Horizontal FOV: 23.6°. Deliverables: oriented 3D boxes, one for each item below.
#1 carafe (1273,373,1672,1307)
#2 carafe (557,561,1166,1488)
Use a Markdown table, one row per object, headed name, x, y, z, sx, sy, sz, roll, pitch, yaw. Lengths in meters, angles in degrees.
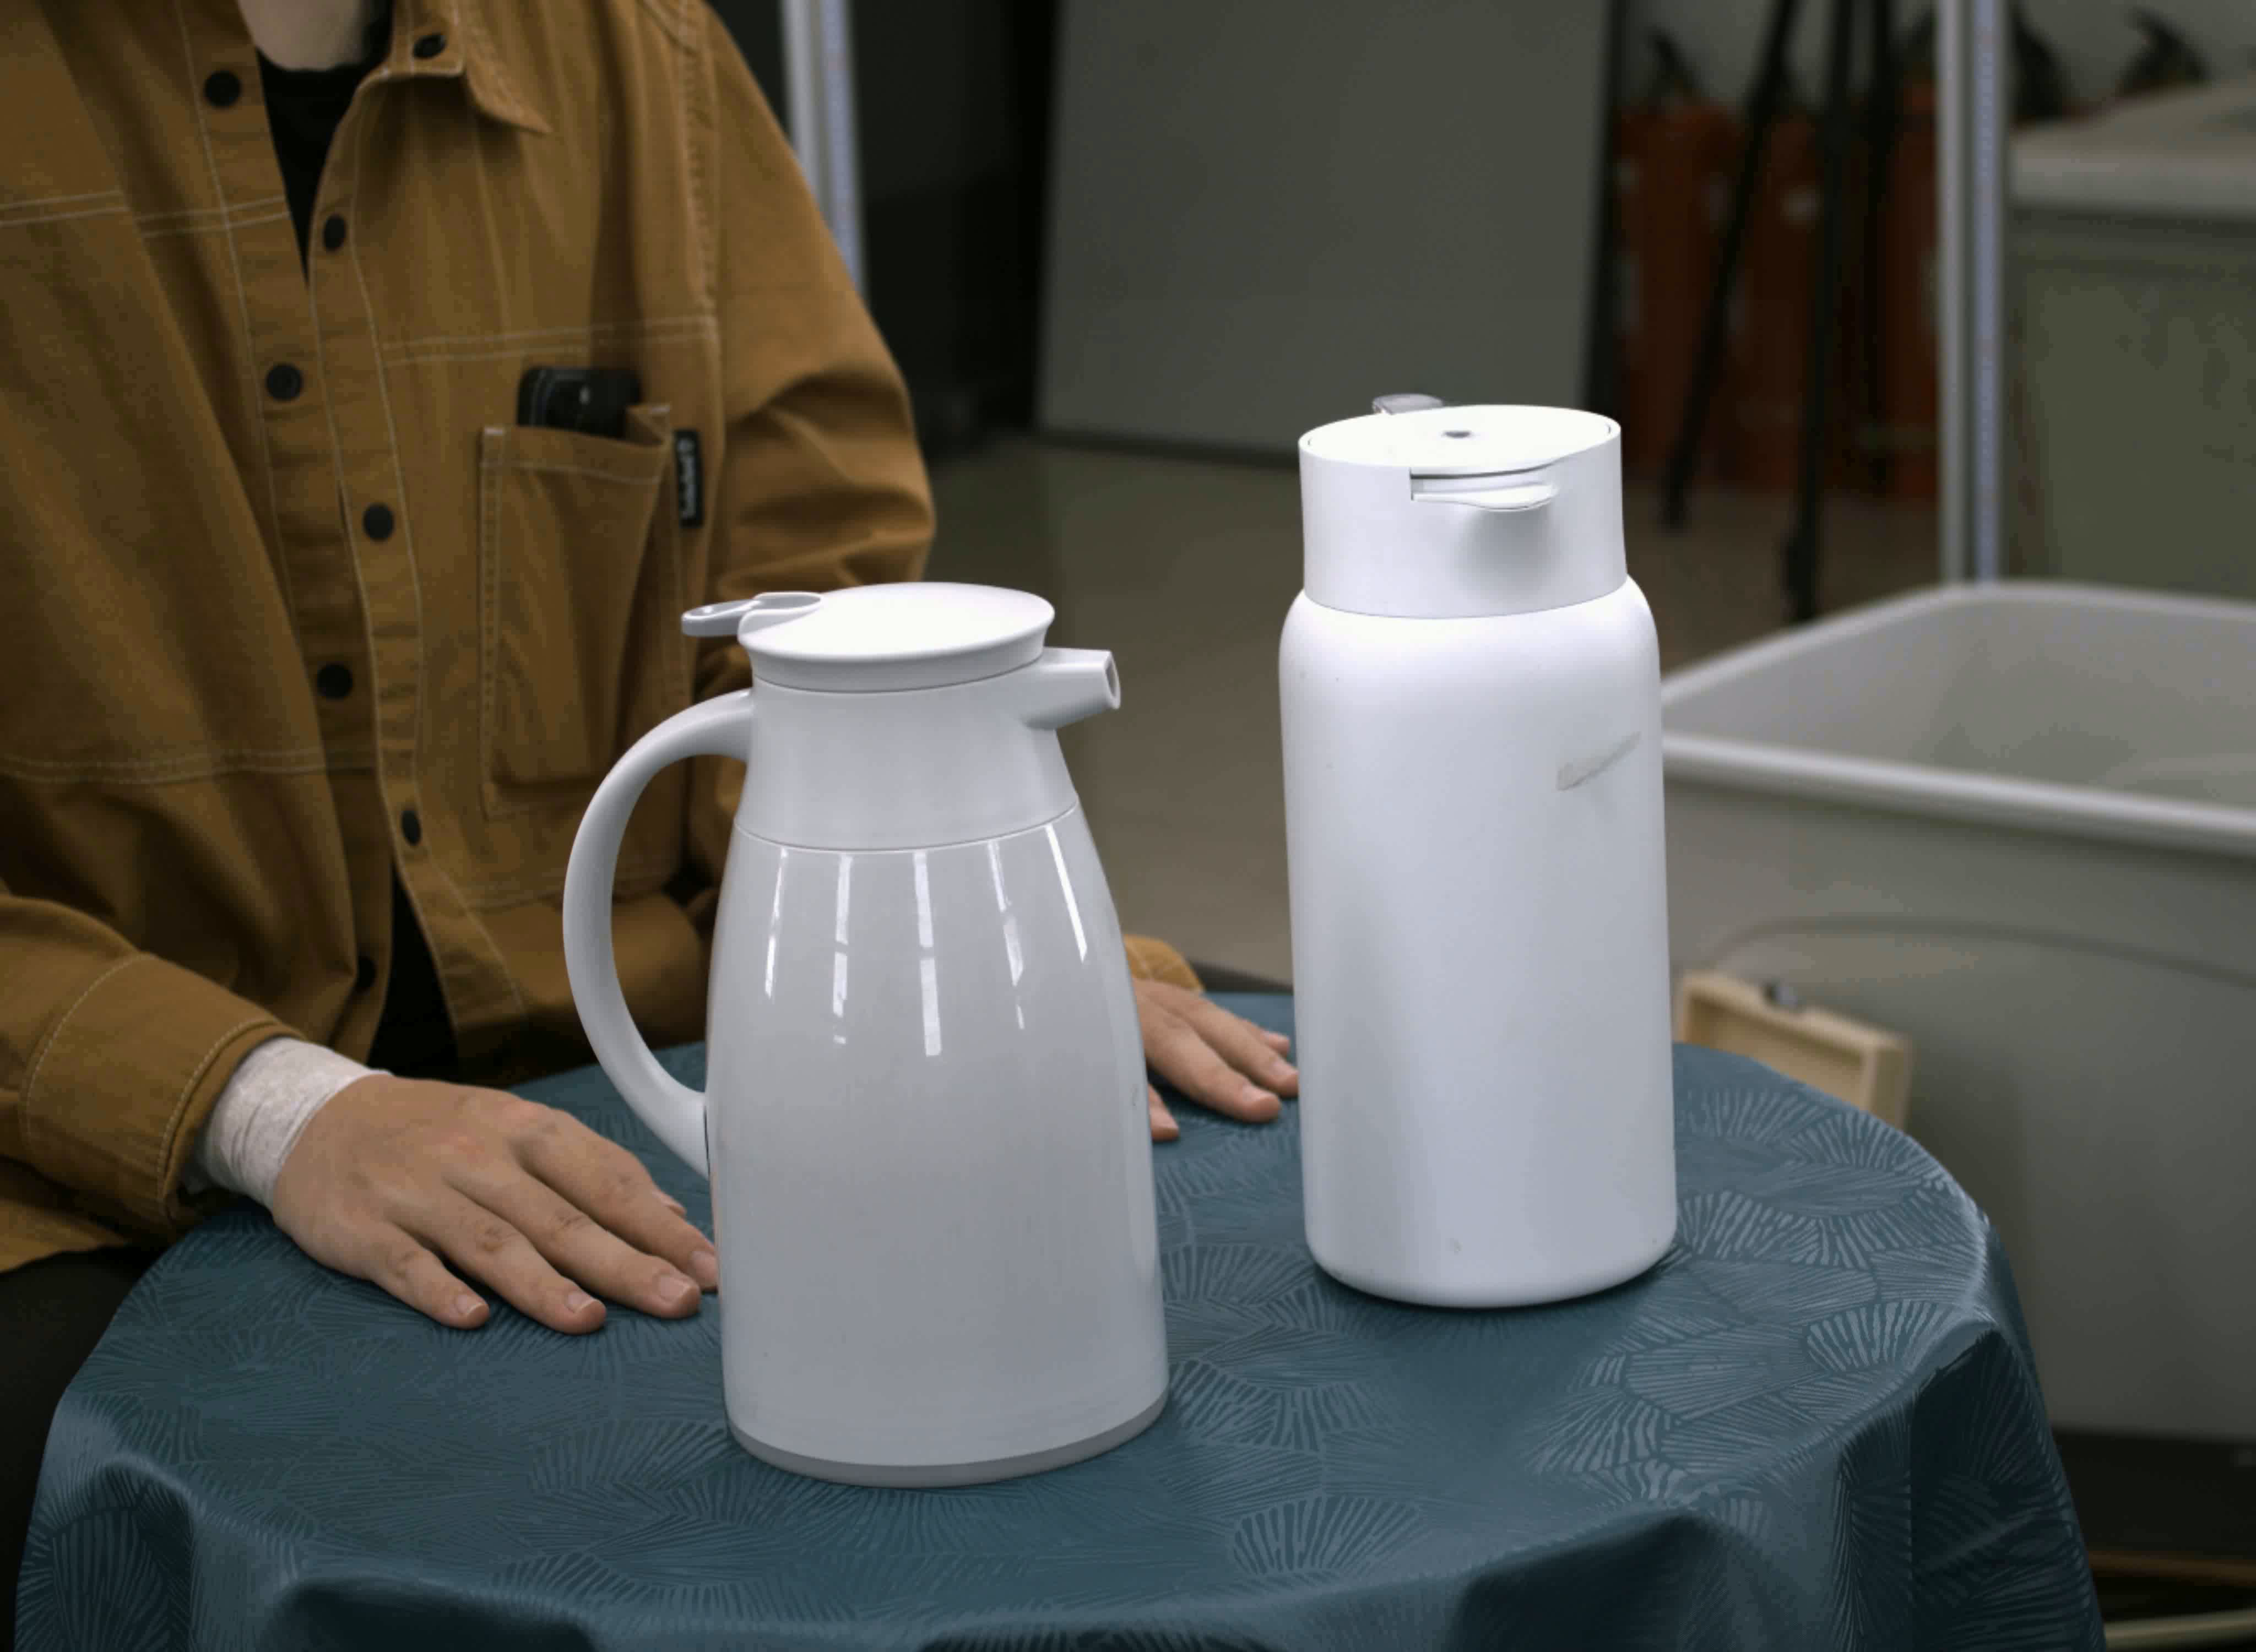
| name | x | y | z | sx | sy | sz | roll | pitch | yaw |
| --- | --- | --- | --- | --- | --- | --- | --- | --- | --- |
| carafe | 0.100 | 0.001 | 1.669 | 0.121 | 0.272 | 0.174 | -8 | 14 | -11 |
| carafe | -0.080 | 0.051 | 1.559 | 0.166 | 0.251 | 0.132 | -3 | 13 | 8 |
